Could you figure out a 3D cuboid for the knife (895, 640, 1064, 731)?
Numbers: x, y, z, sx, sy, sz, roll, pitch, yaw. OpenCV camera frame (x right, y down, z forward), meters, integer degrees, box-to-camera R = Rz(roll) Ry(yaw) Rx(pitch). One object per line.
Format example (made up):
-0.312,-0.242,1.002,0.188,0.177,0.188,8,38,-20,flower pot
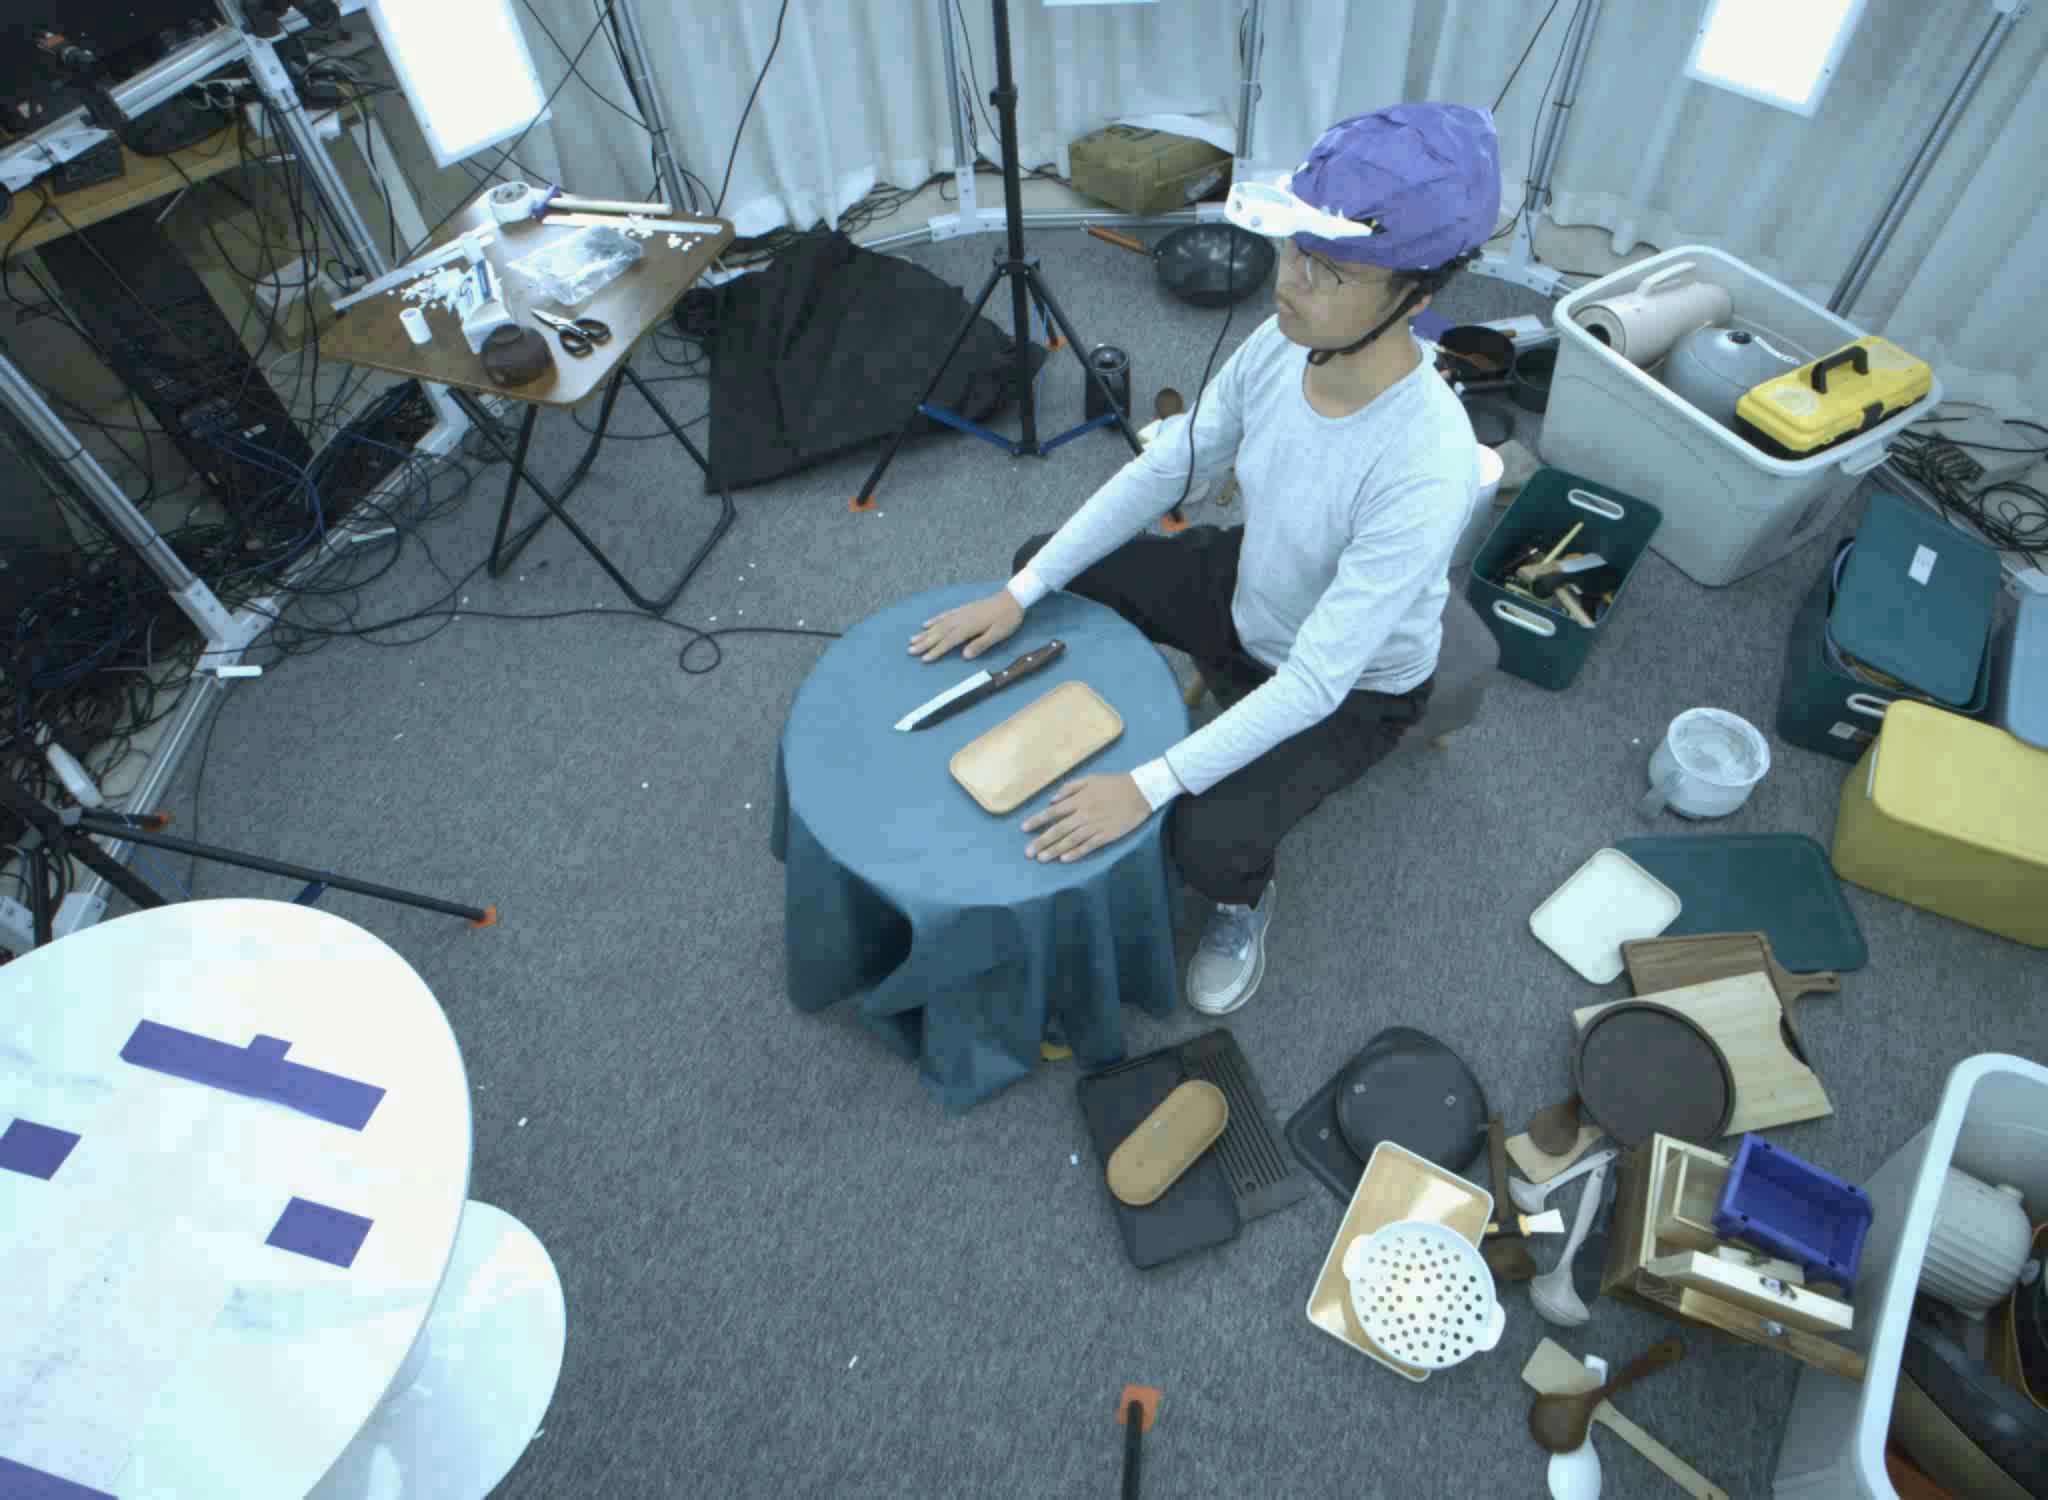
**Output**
-0.066,-0.097,1.857,0.291,0.020,0.049,-28,53,-15,knife

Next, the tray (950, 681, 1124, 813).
0.020,-0.006,1.789,0.253,0.023,0.128,-32,62,-21,tray
